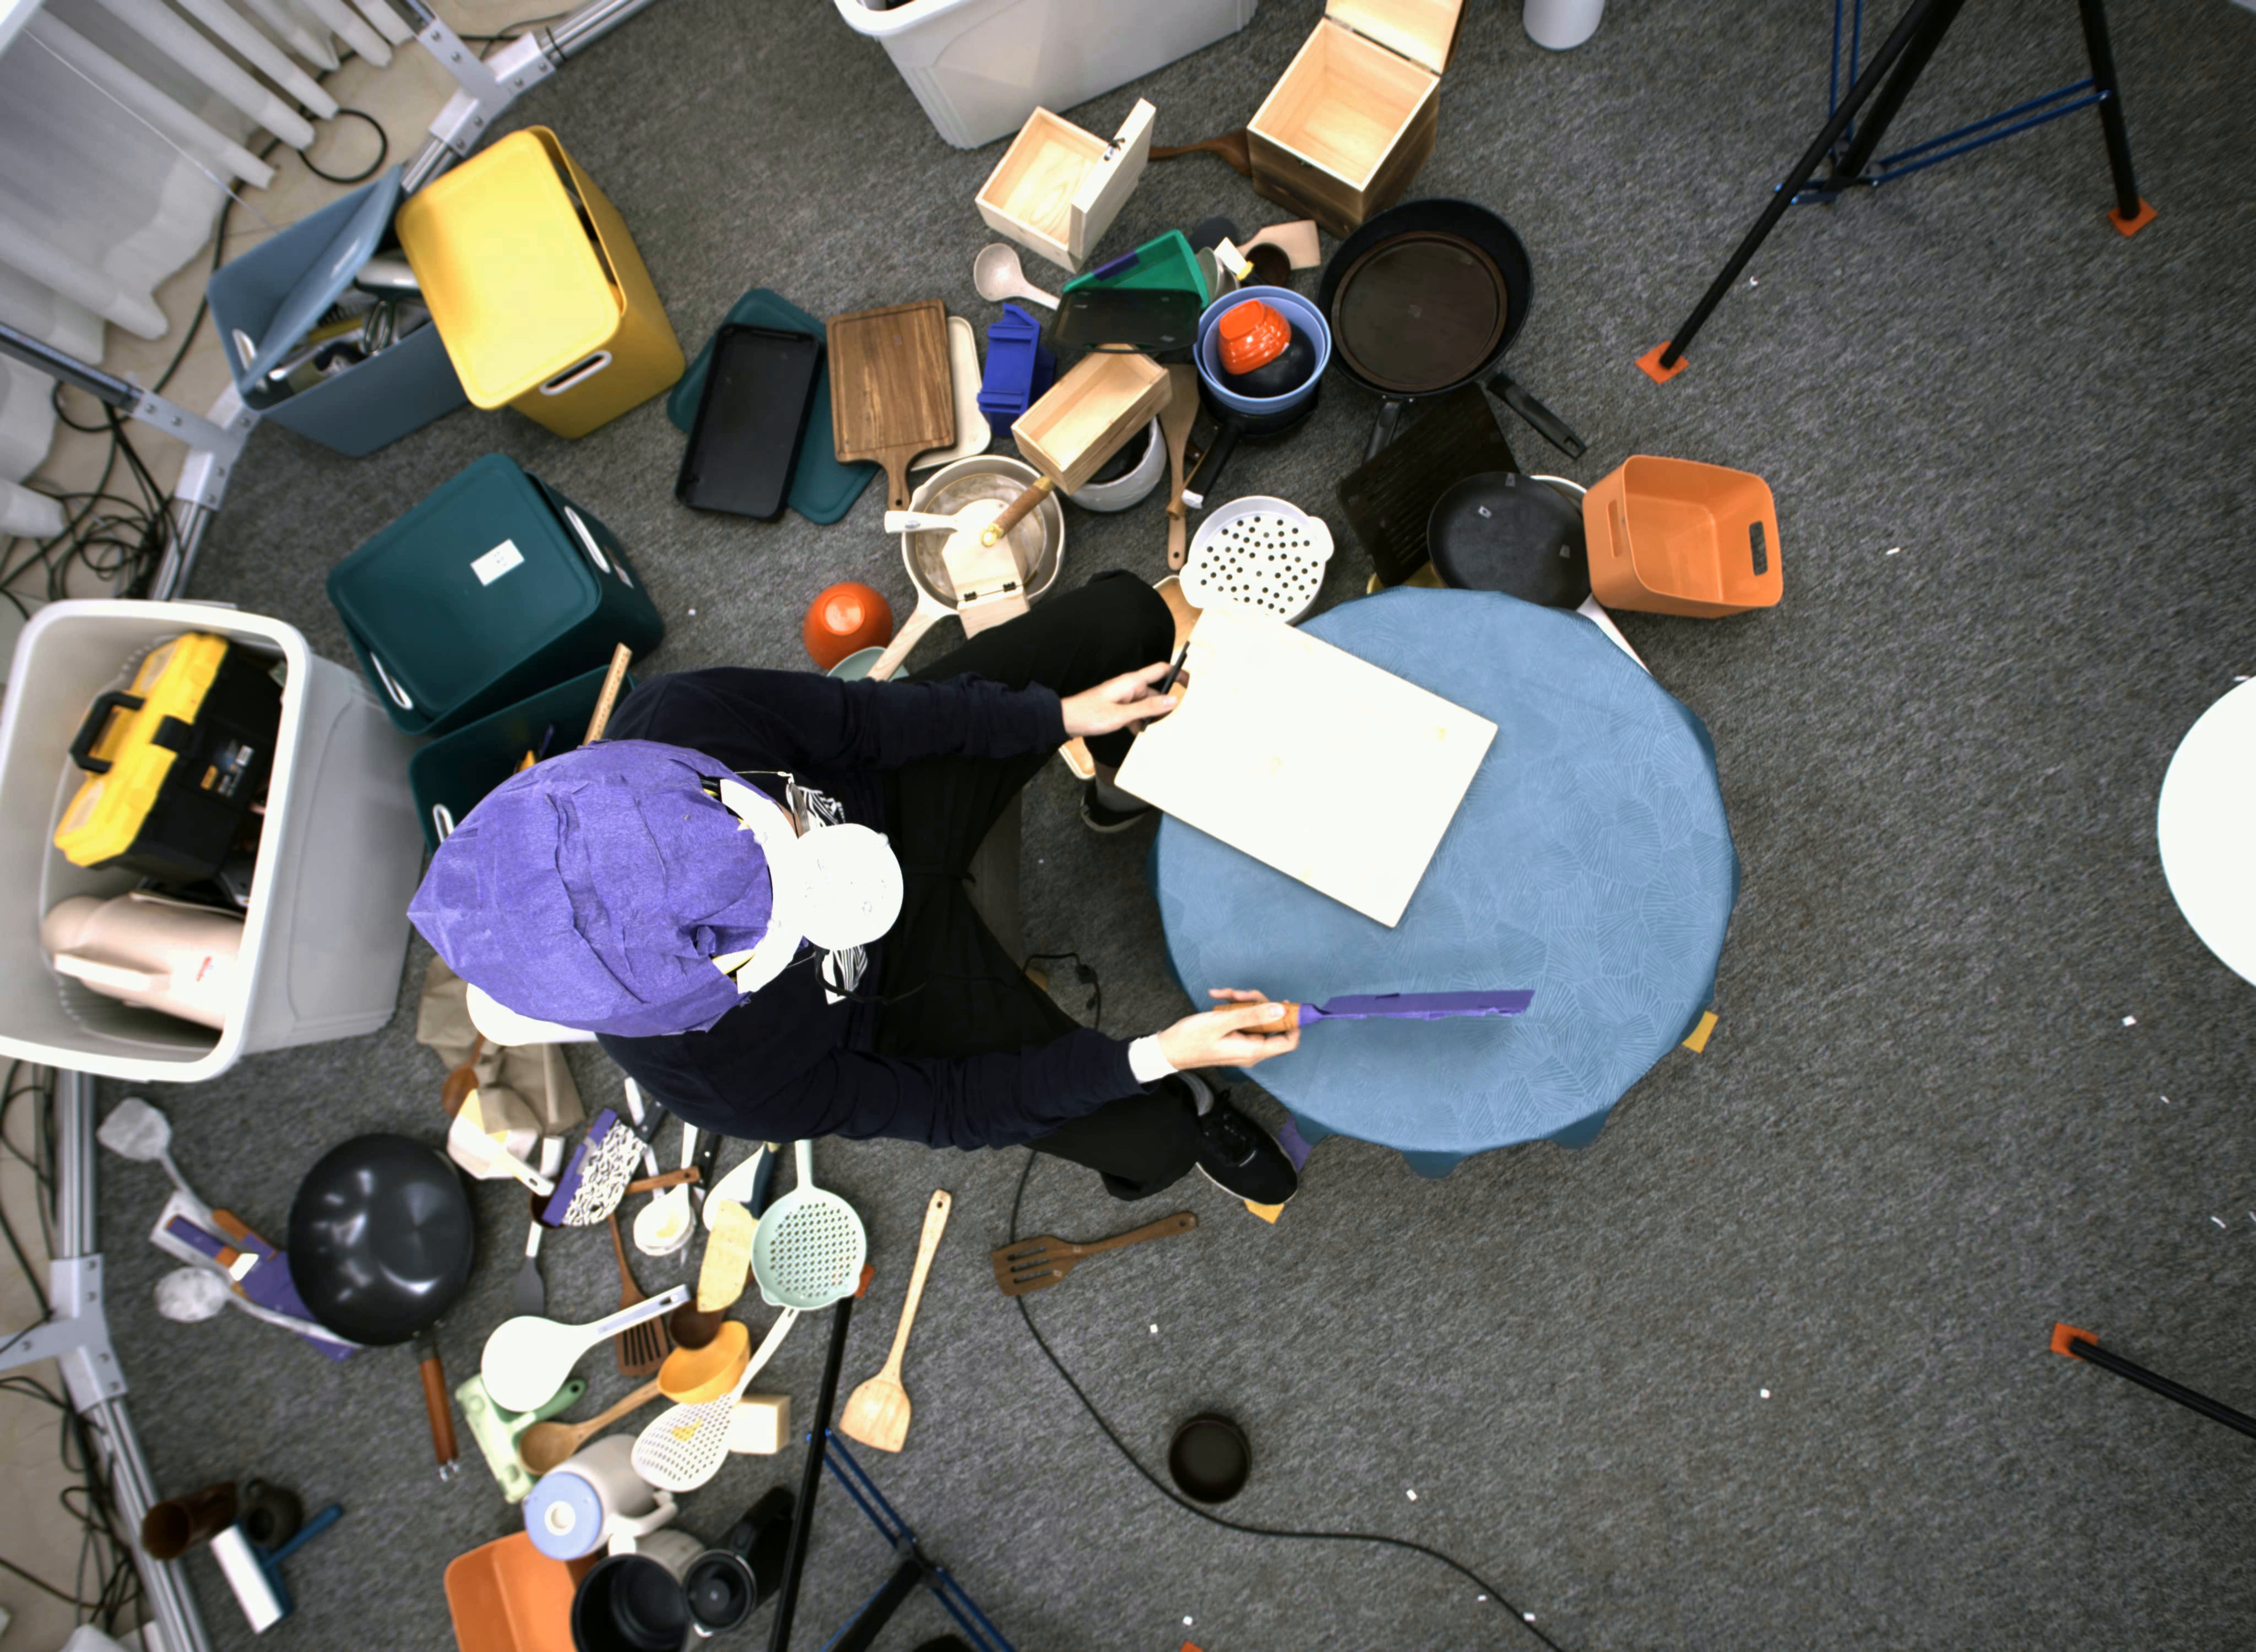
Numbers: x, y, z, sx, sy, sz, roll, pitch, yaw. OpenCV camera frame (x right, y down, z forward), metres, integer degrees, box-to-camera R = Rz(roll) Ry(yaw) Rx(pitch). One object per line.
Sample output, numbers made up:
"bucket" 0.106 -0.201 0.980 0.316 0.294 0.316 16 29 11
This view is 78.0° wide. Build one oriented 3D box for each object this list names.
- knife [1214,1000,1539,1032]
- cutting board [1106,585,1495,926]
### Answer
"knife" 0.248 0.187 1.386 0.317 0.103 0.032 -3 84 22
"cutting board" 0.181 -0.078 1.477 0.348 0.023 0.251 27 92 11
